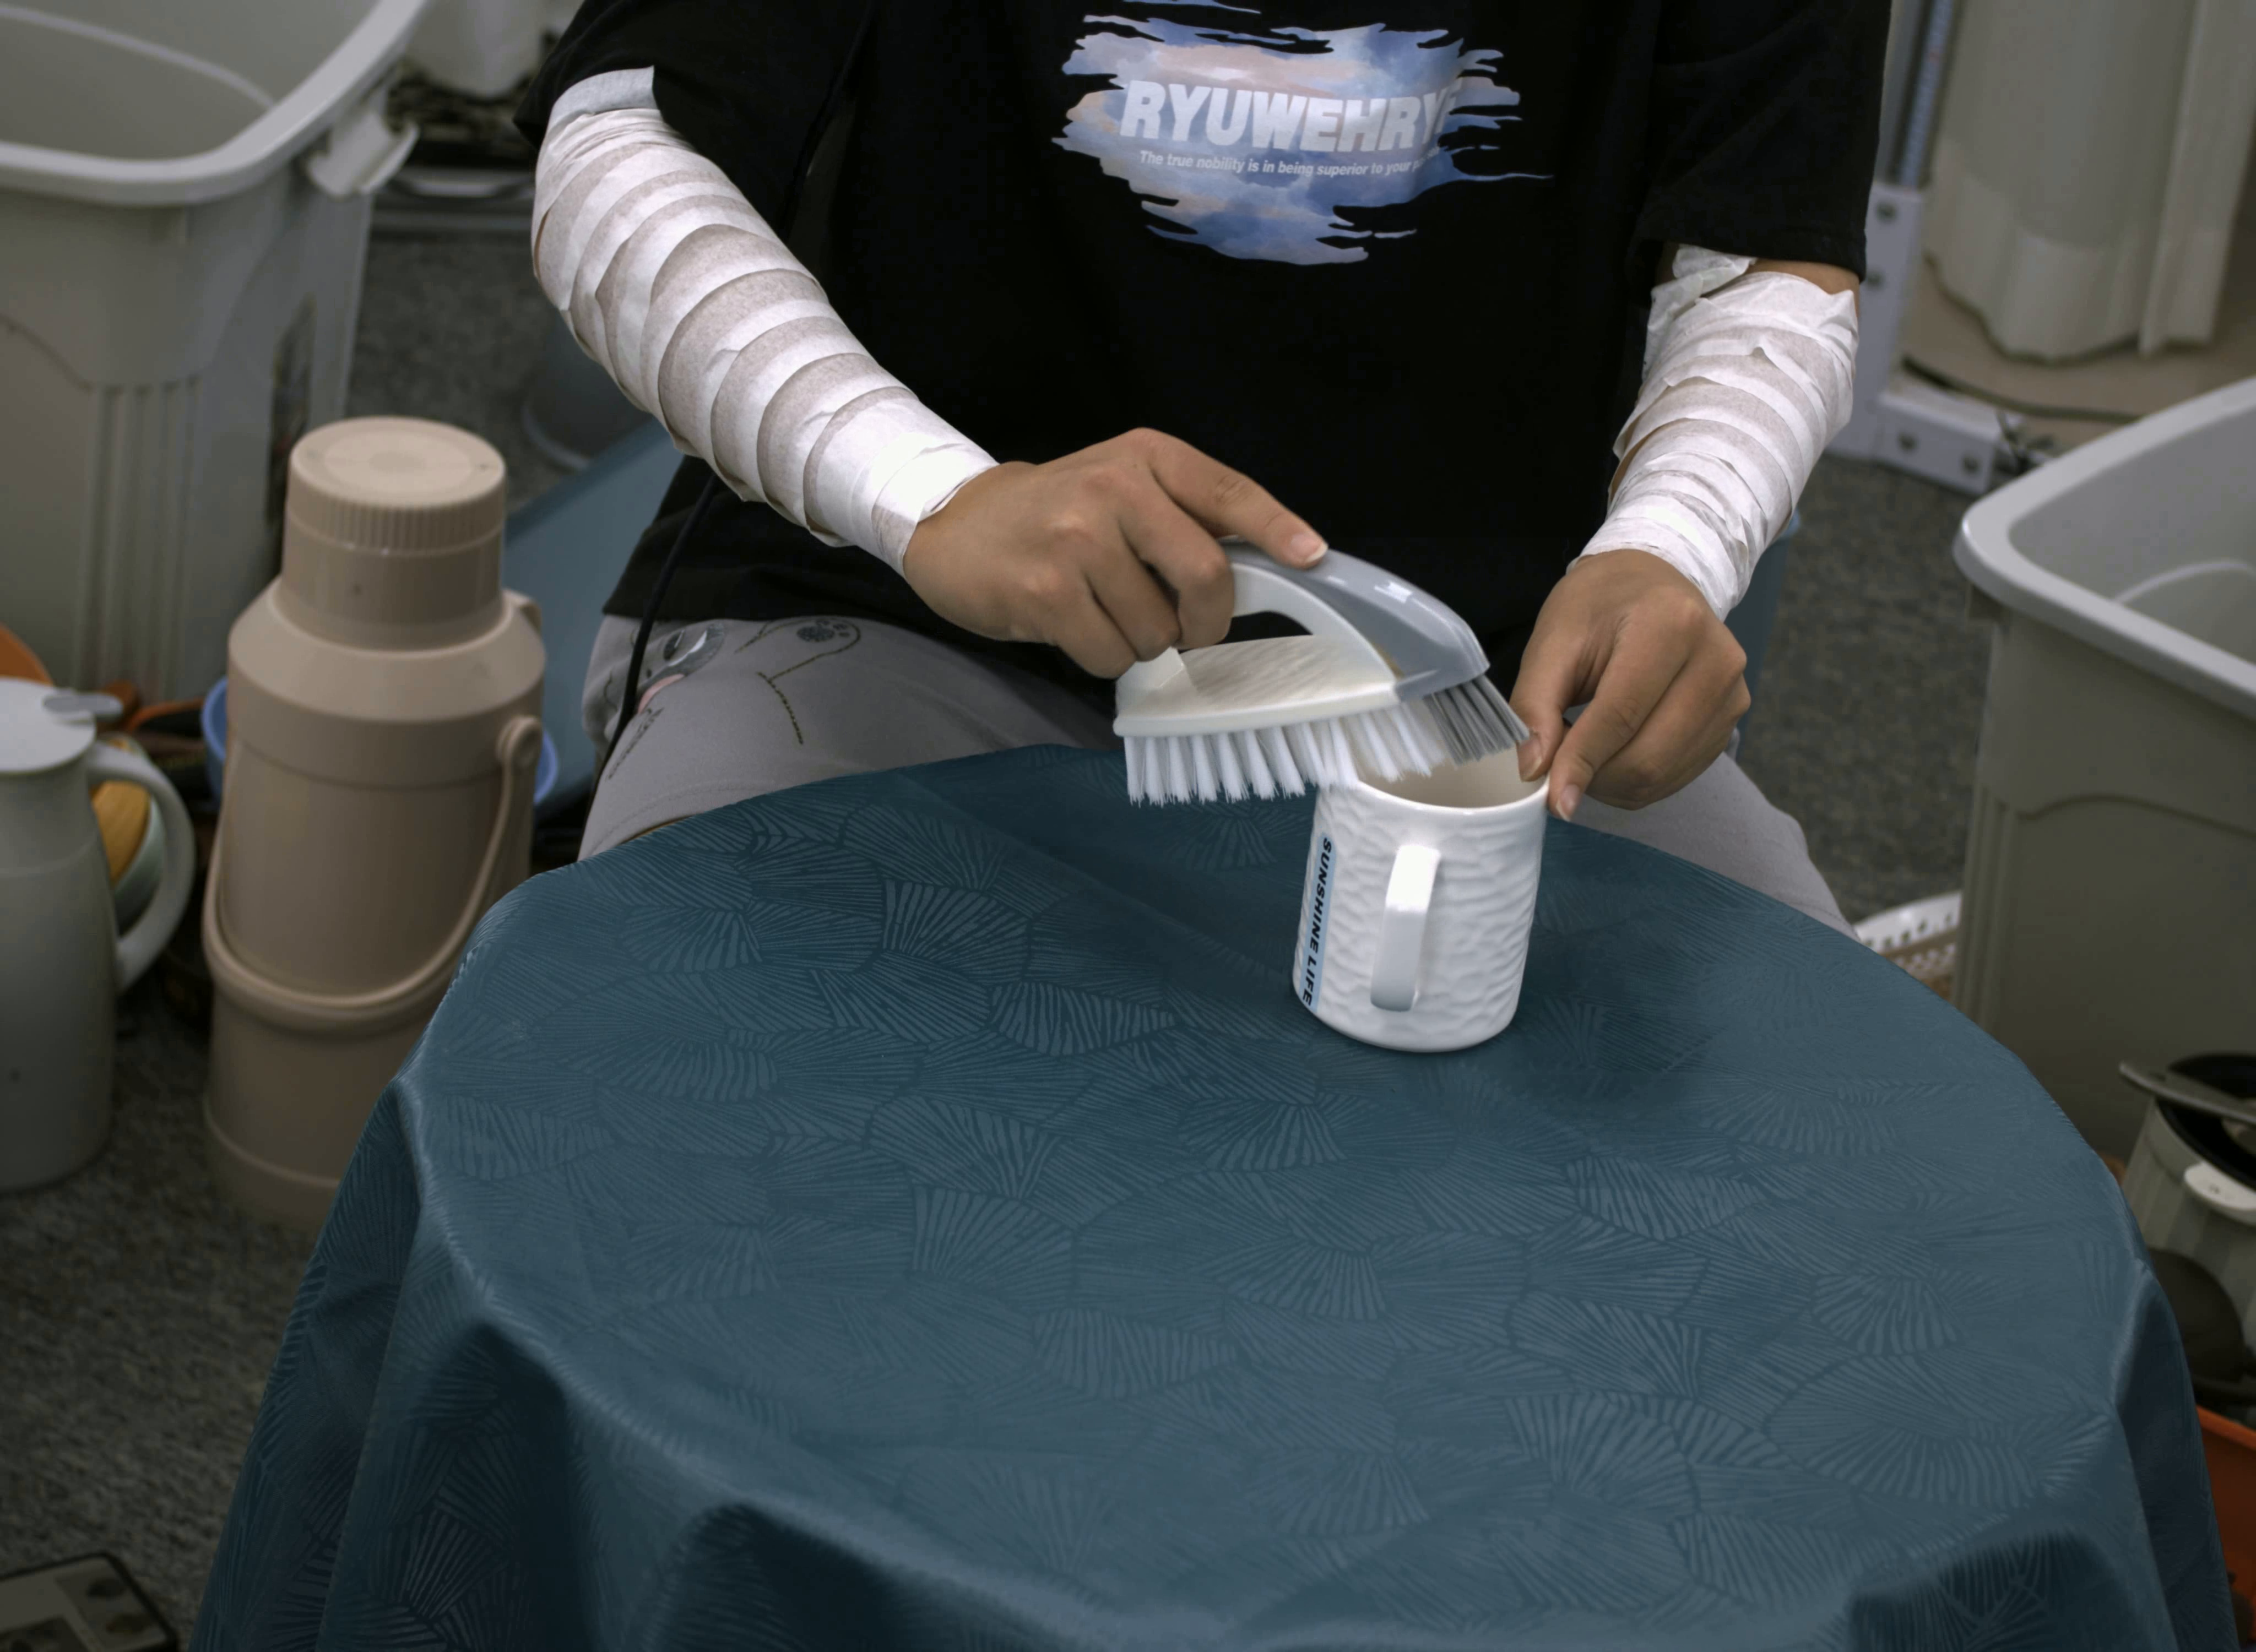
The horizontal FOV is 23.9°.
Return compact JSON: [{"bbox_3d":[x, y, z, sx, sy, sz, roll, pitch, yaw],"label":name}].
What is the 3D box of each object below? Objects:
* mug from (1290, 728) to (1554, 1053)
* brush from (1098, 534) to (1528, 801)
[{"bbox_3d":[0.103,0.026,1.906,0.085,0.101,0.119,9,27,4],"label":"mug"},{"bbox_3d":[0.060,-0.063,1.900,0.176,0.094,0.061,0,35,45],"label":"brush"}]
